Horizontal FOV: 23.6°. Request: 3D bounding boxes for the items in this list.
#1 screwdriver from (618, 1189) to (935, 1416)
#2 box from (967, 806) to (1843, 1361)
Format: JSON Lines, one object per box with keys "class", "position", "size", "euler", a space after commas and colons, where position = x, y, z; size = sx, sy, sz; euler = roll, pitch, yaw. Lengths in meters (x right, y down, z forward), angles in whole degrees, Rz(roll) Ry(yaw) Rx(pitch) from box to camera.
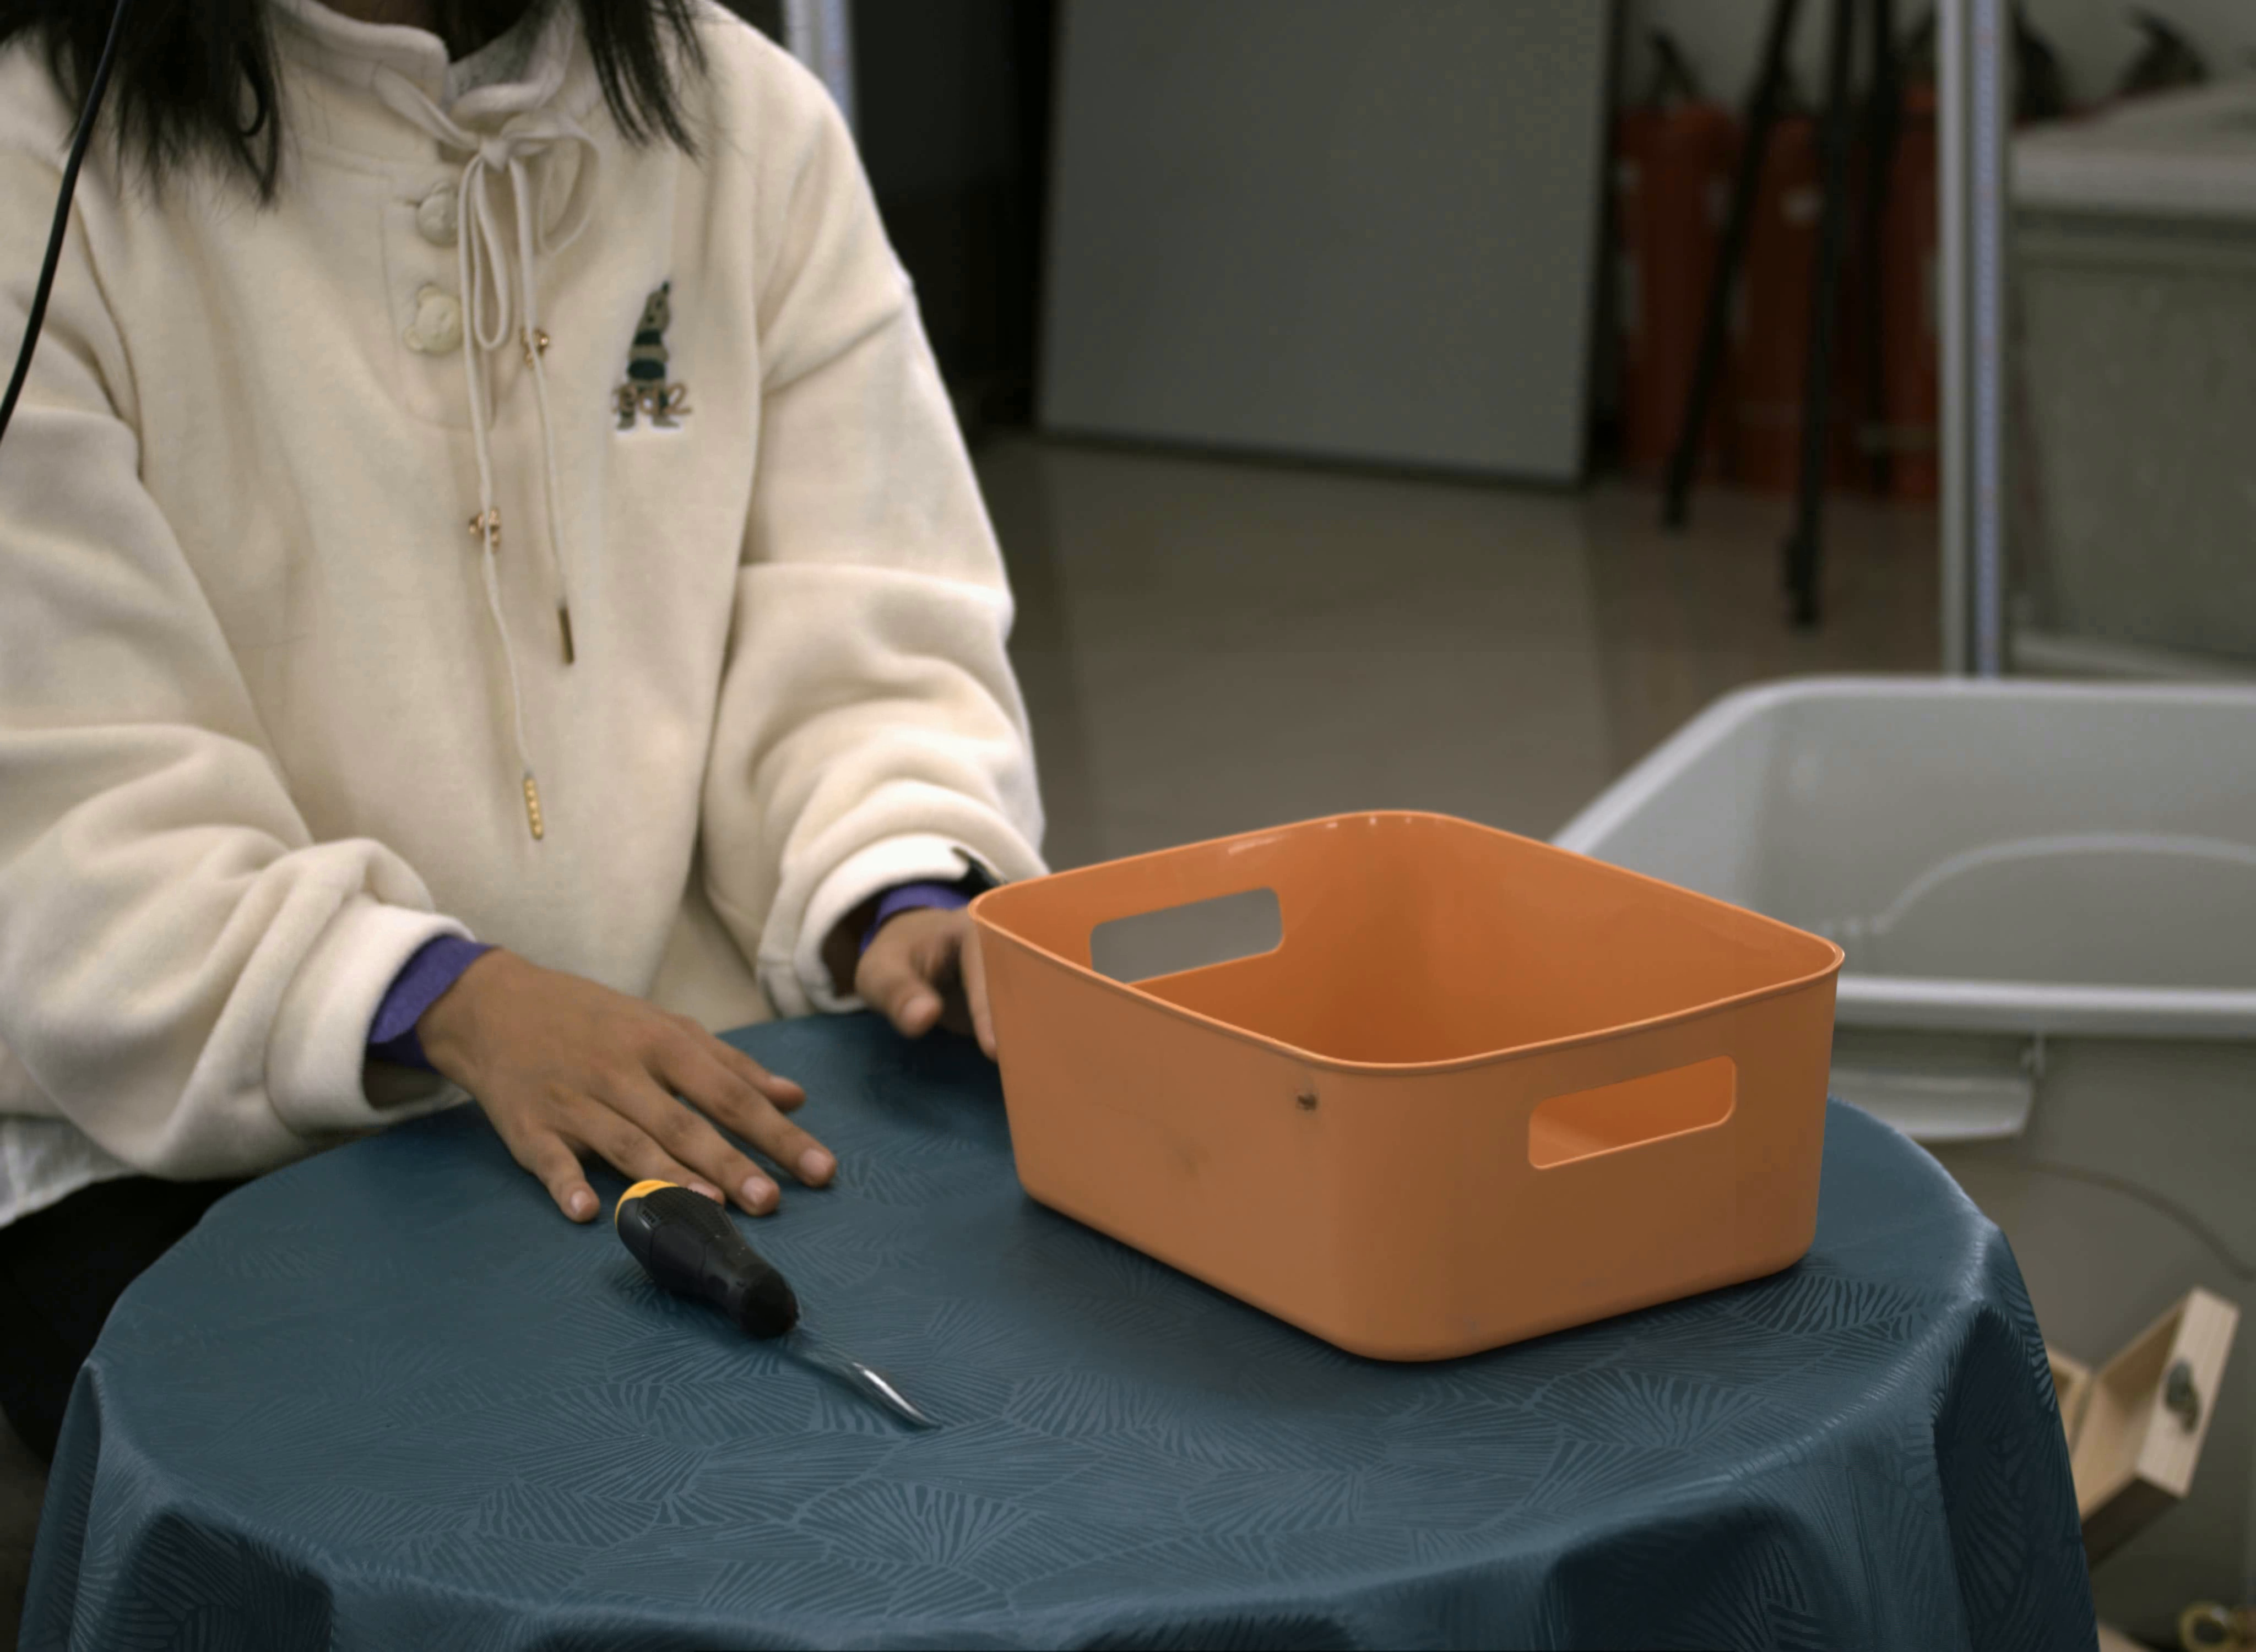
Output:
{"class": "screwdriver", "position": [-0.110, 0.149, 1.647], "size": [0.031, 0.032, 0.200], "euler": [-10, 17, -25]}
{"class": "box", "position": [0.086, 0.077, 1.702], "size": [0.195, 0.103, 0.276], "euler": [-12, 16, -28]}
